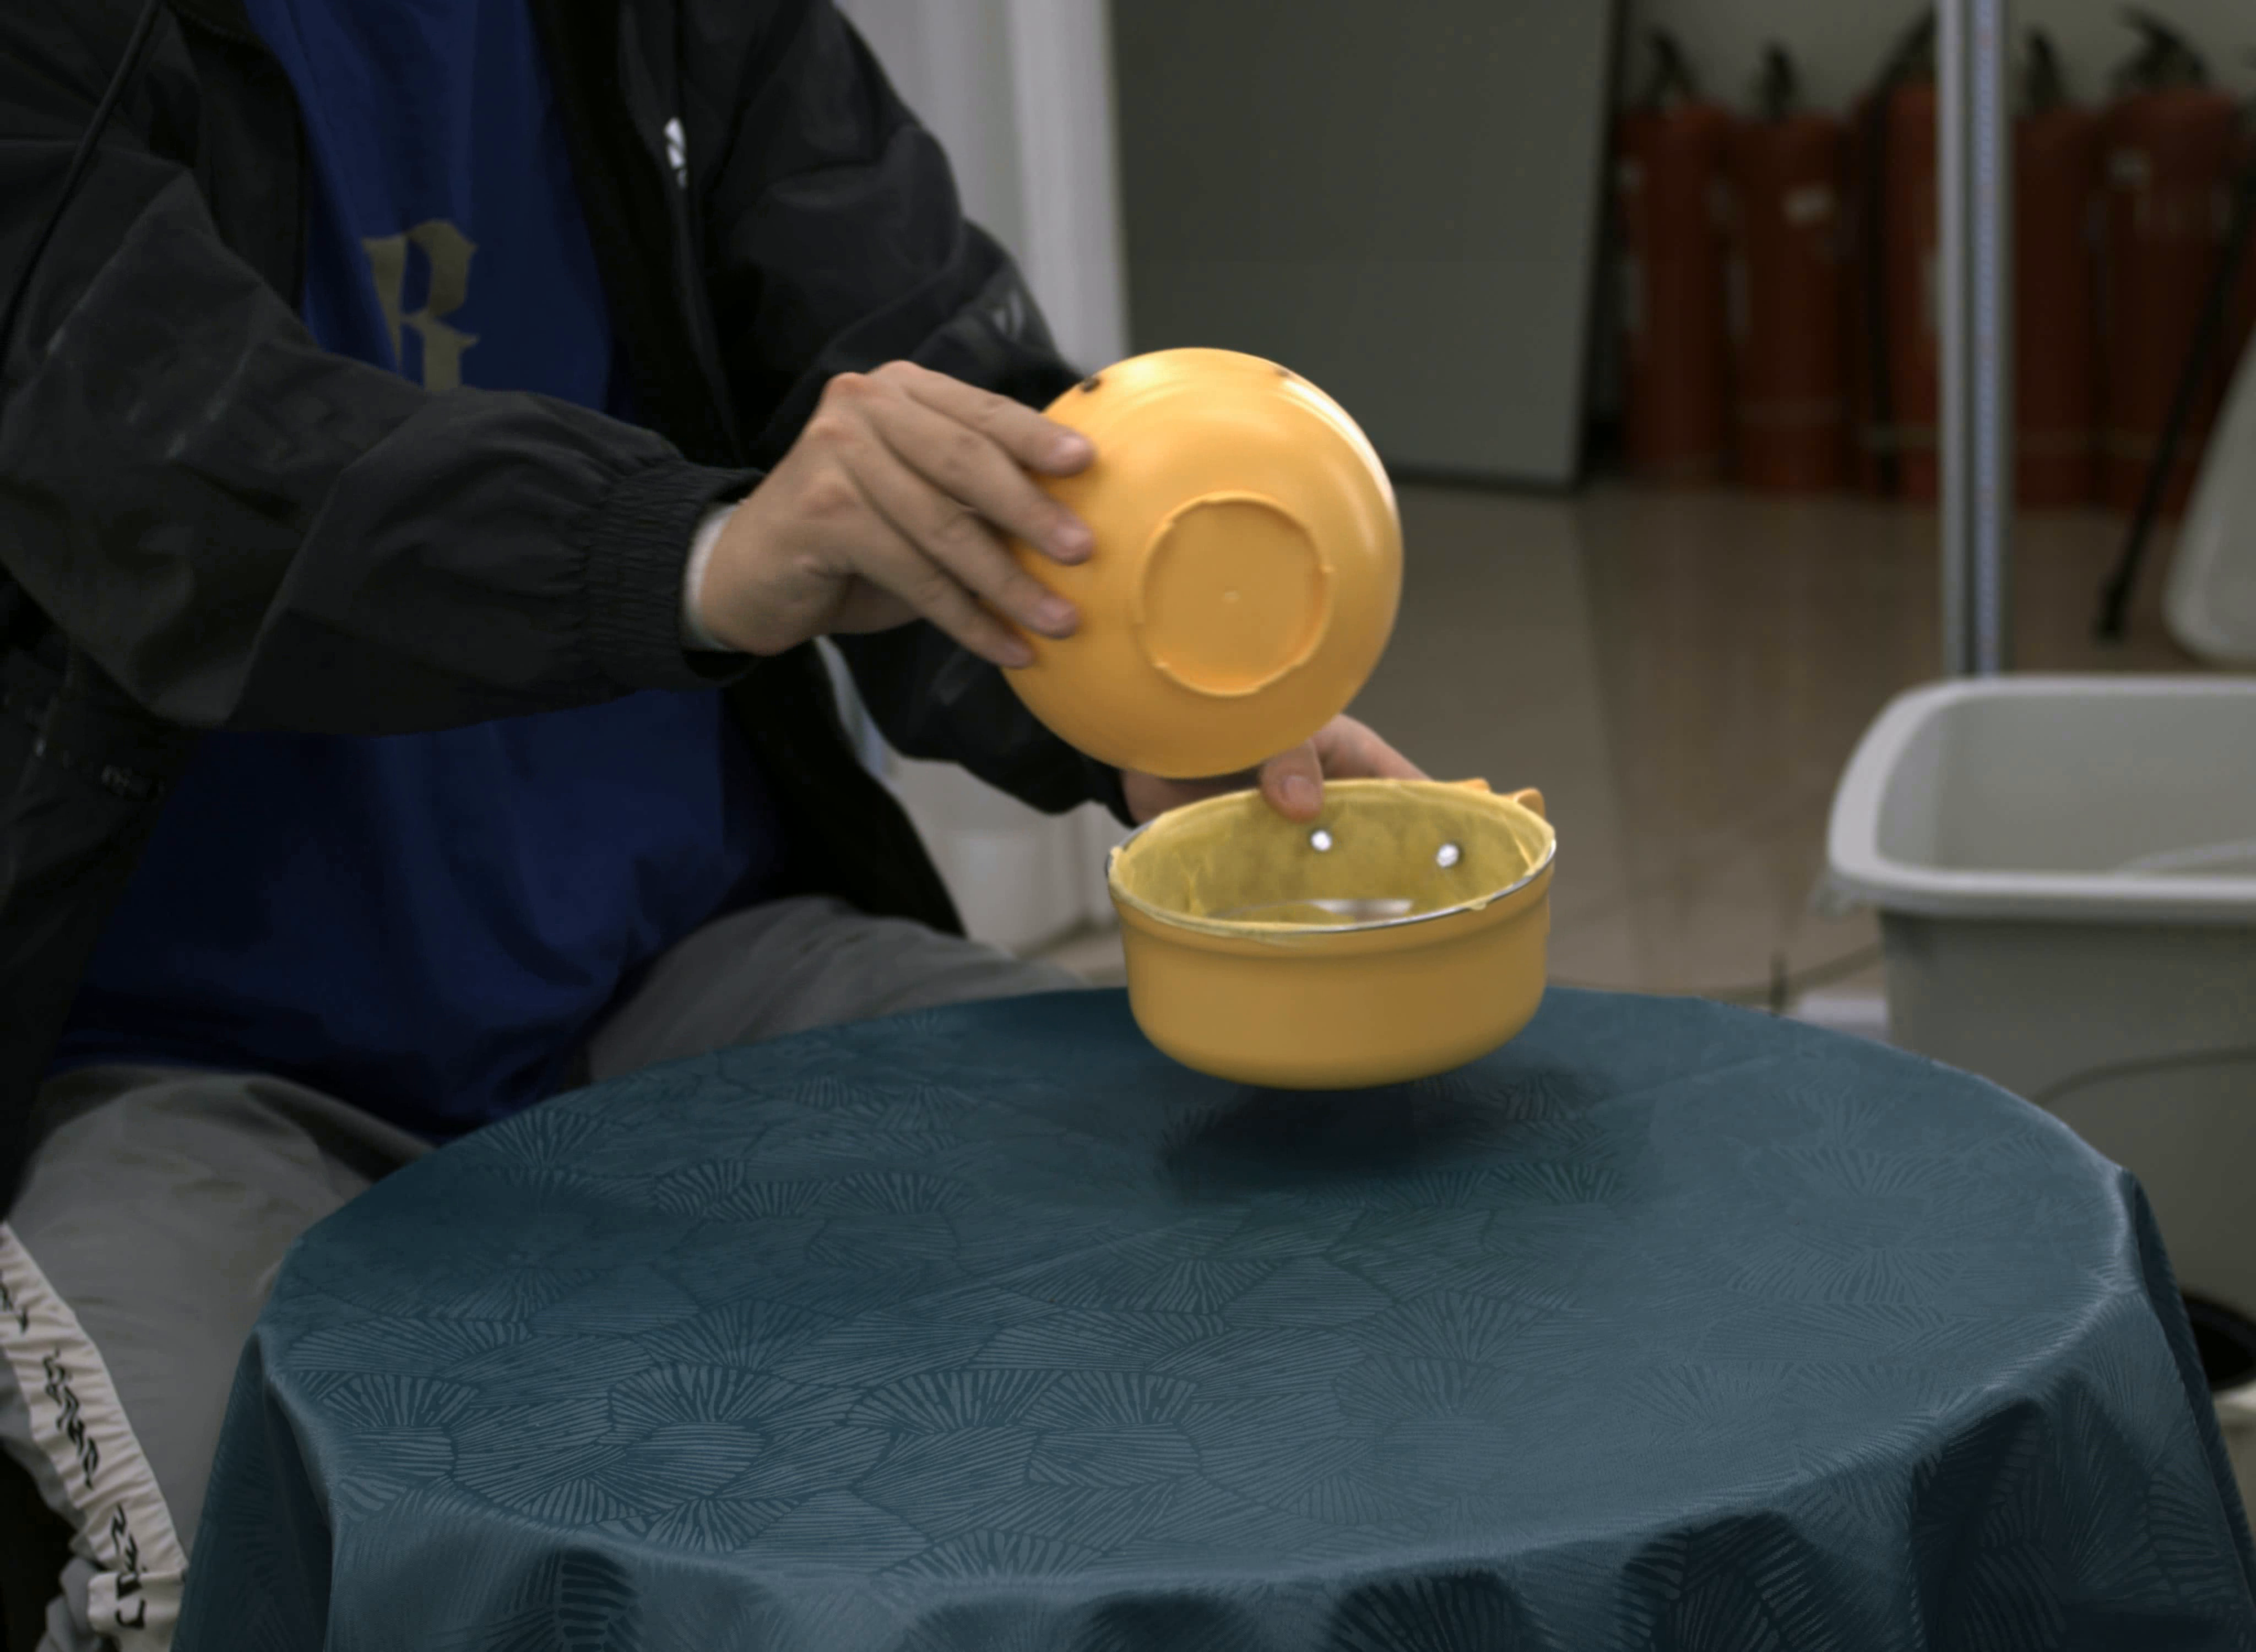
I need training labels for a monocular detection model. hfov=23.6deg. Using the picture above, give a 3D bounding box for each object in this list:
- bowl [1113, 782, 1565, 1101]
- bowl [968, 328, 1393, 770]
[{"bbox_3d":[0.082,0.037,1.820,0.154,0.075,0.176,8,23,37],"label":"bowl"},{"bbox_3d":[0.022,-0.083,1.740,0.143,0.147,0.060,-5,15,-8],"label":"bowl"}]
